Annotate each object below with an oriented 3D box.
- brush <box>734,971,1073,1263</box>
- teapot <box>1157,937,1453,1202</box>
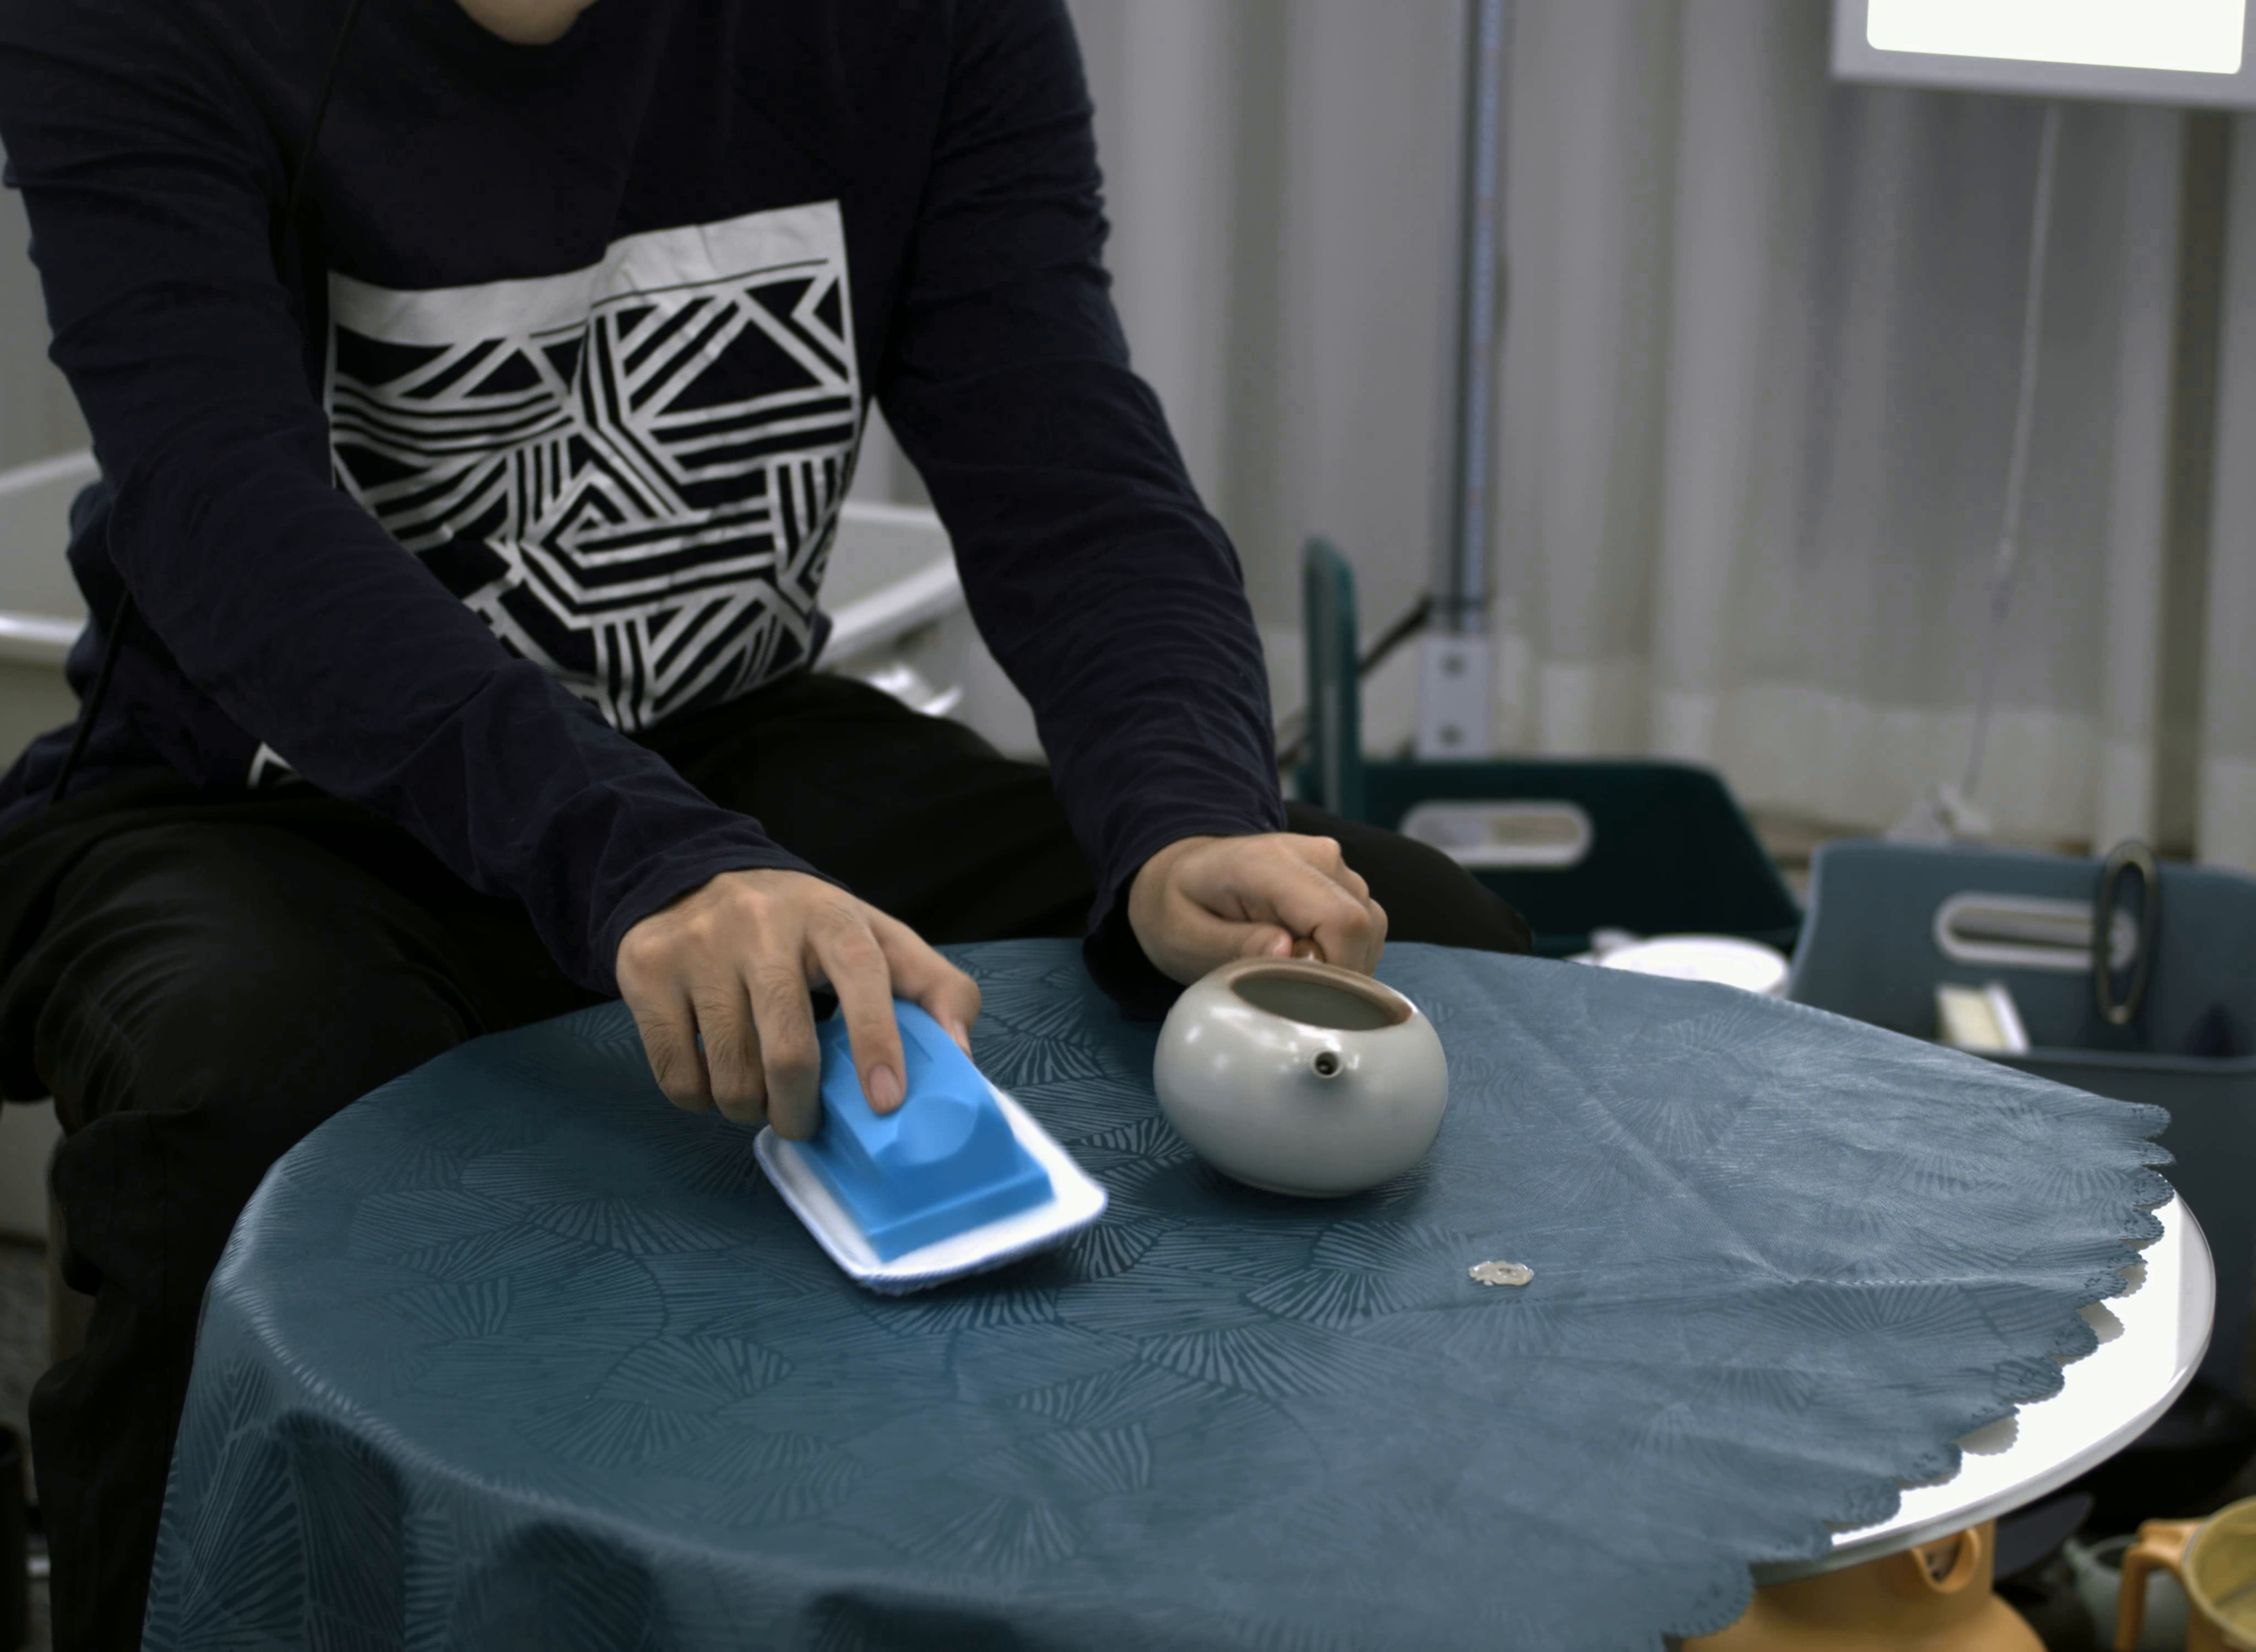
[{"bbox_3d":[-0.069,0.085,1.588,0.084,0.056,0.142,-11,23,-13],"label":"brush"},{"bbox_3d":[0.054,0.075,1.636,0.092,0.060,0.127,3,20,-5],"label":"teapot"}]
